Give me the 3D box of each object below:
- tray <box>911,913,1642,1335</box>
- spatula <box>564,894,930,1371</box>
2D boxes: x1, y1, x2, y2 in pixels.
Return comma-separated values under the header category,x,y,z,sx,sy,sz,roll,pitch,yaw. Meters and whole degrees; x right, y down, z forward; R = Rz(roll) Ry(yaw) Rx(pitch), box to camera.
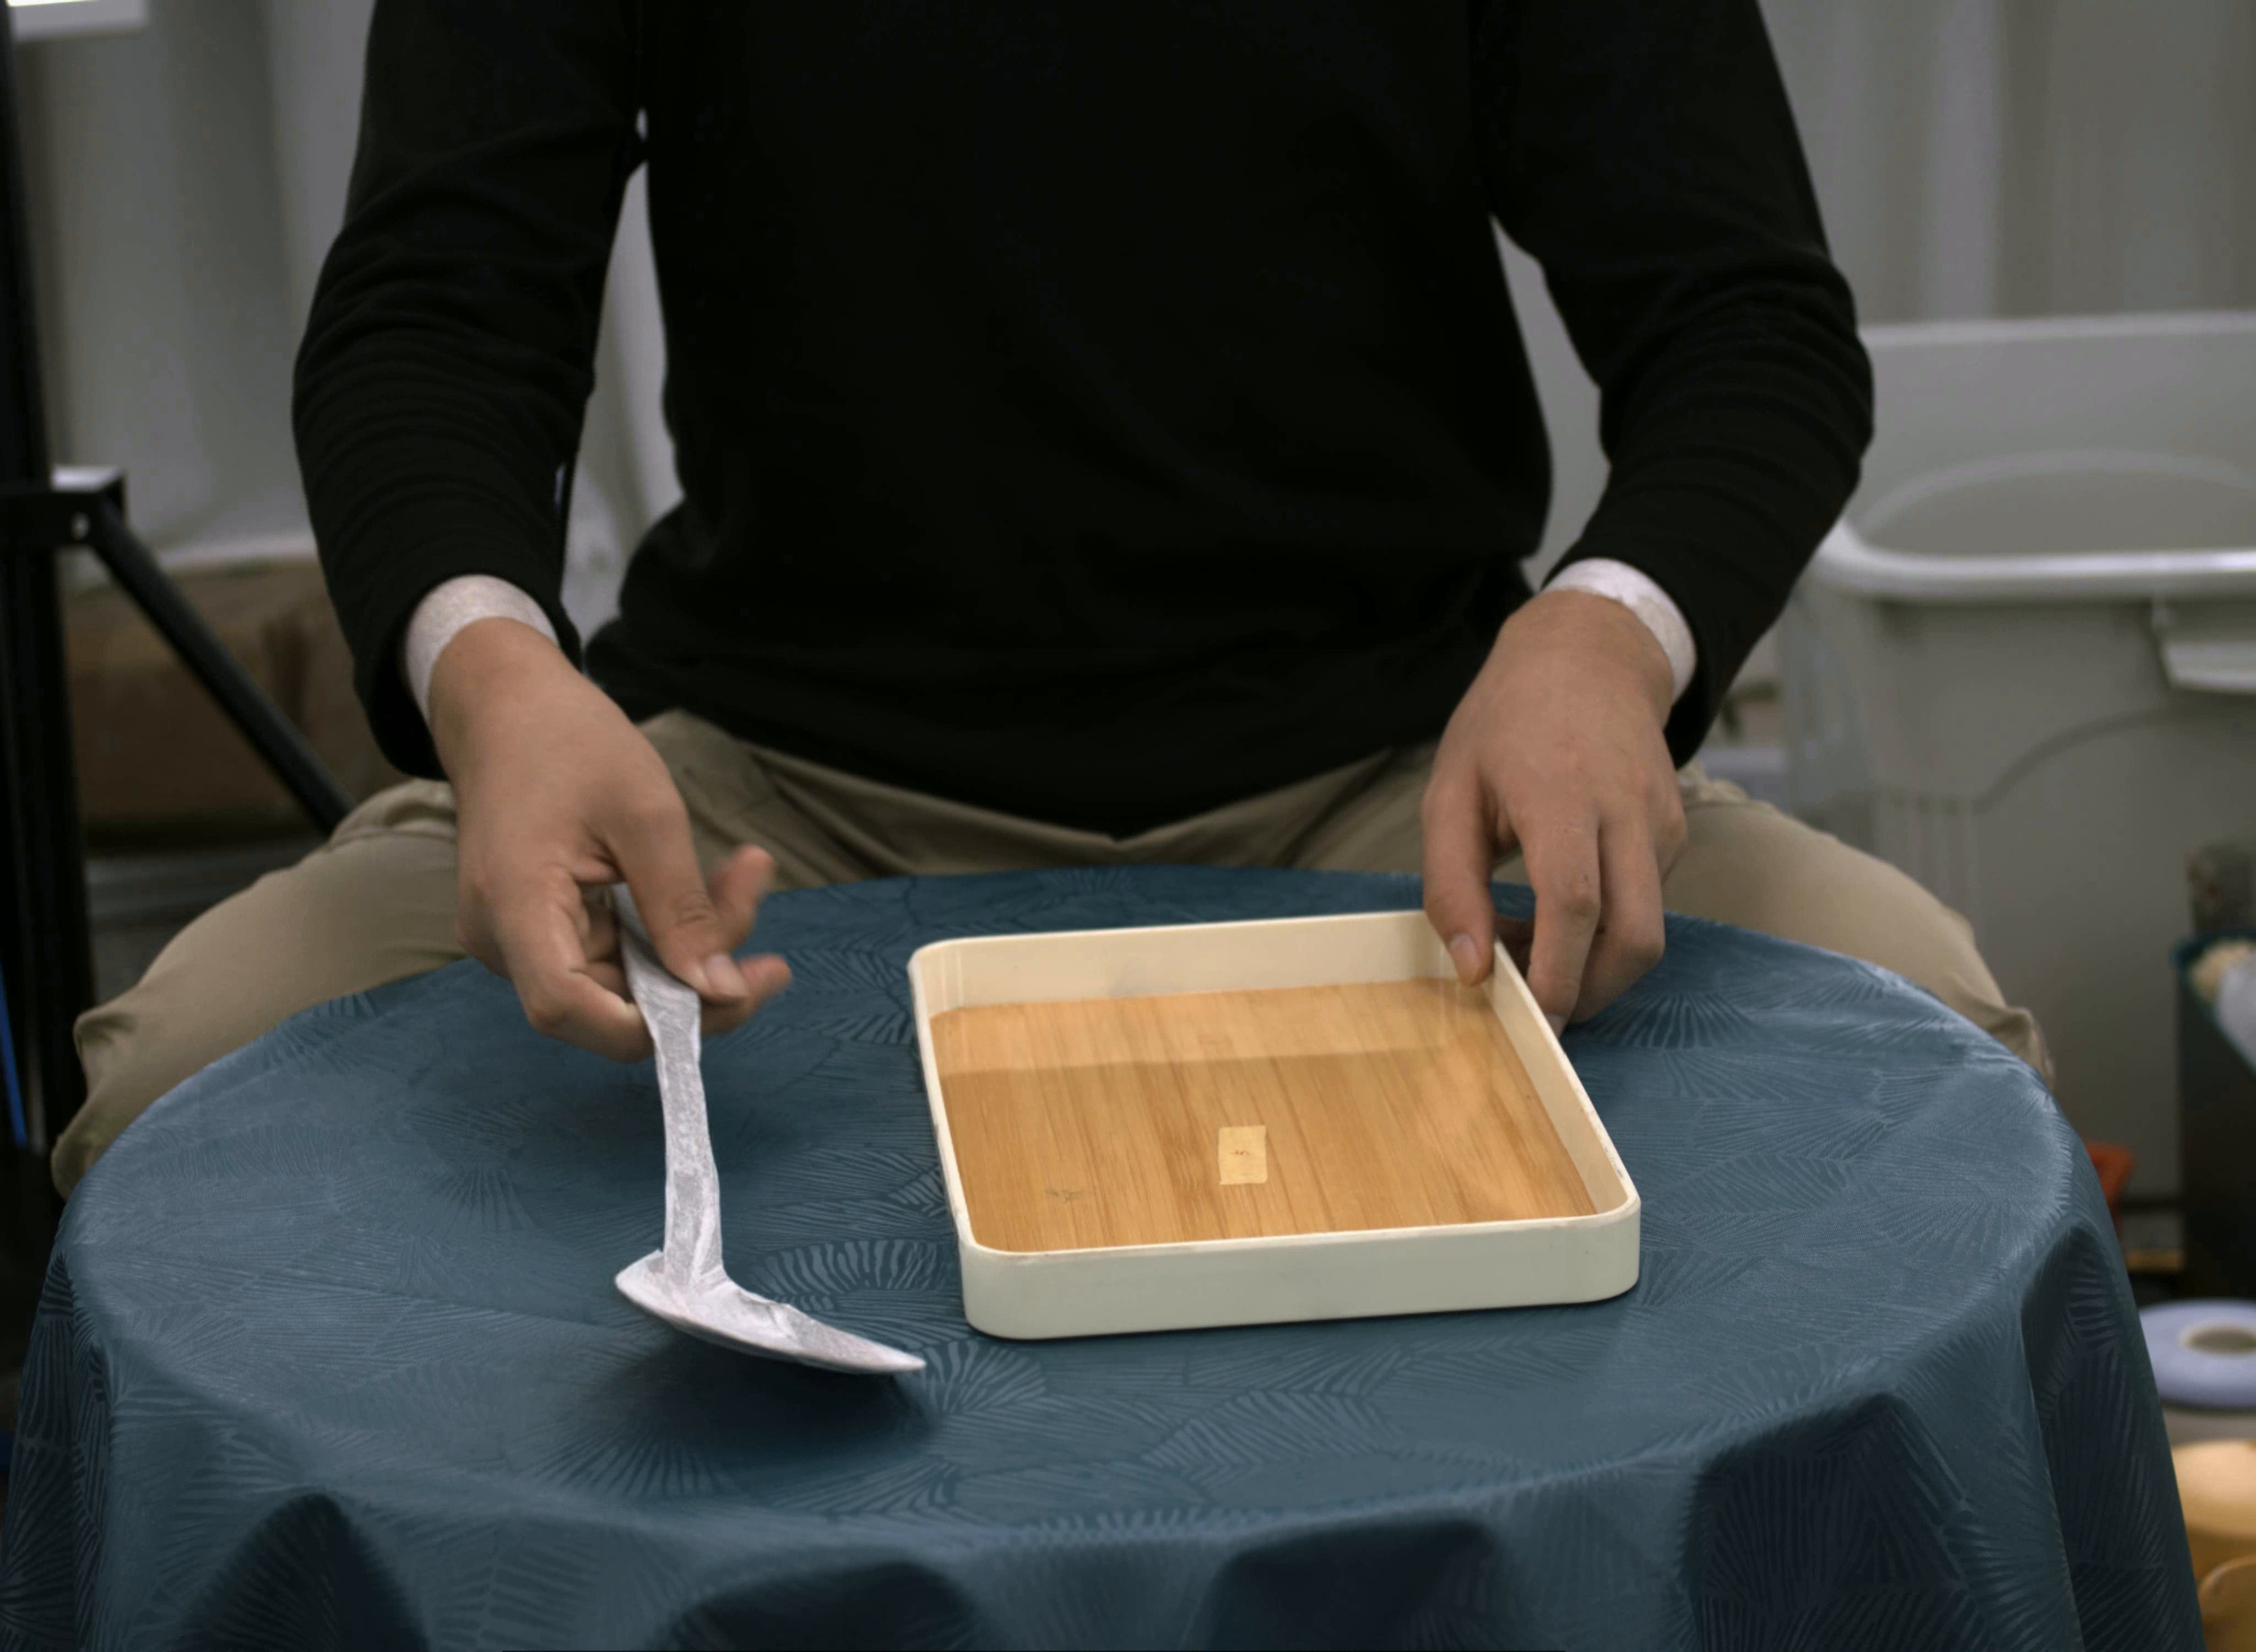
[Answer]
category,x,y,z,sx,sy,sz,roll,pitch,yaw
tray,0.037,0.085,1.585,0.190,0.027,0.302,-4,16,-3
spatula,-0.123,0.077,1.537,0.097,0.045,0.369,17,20,-15
